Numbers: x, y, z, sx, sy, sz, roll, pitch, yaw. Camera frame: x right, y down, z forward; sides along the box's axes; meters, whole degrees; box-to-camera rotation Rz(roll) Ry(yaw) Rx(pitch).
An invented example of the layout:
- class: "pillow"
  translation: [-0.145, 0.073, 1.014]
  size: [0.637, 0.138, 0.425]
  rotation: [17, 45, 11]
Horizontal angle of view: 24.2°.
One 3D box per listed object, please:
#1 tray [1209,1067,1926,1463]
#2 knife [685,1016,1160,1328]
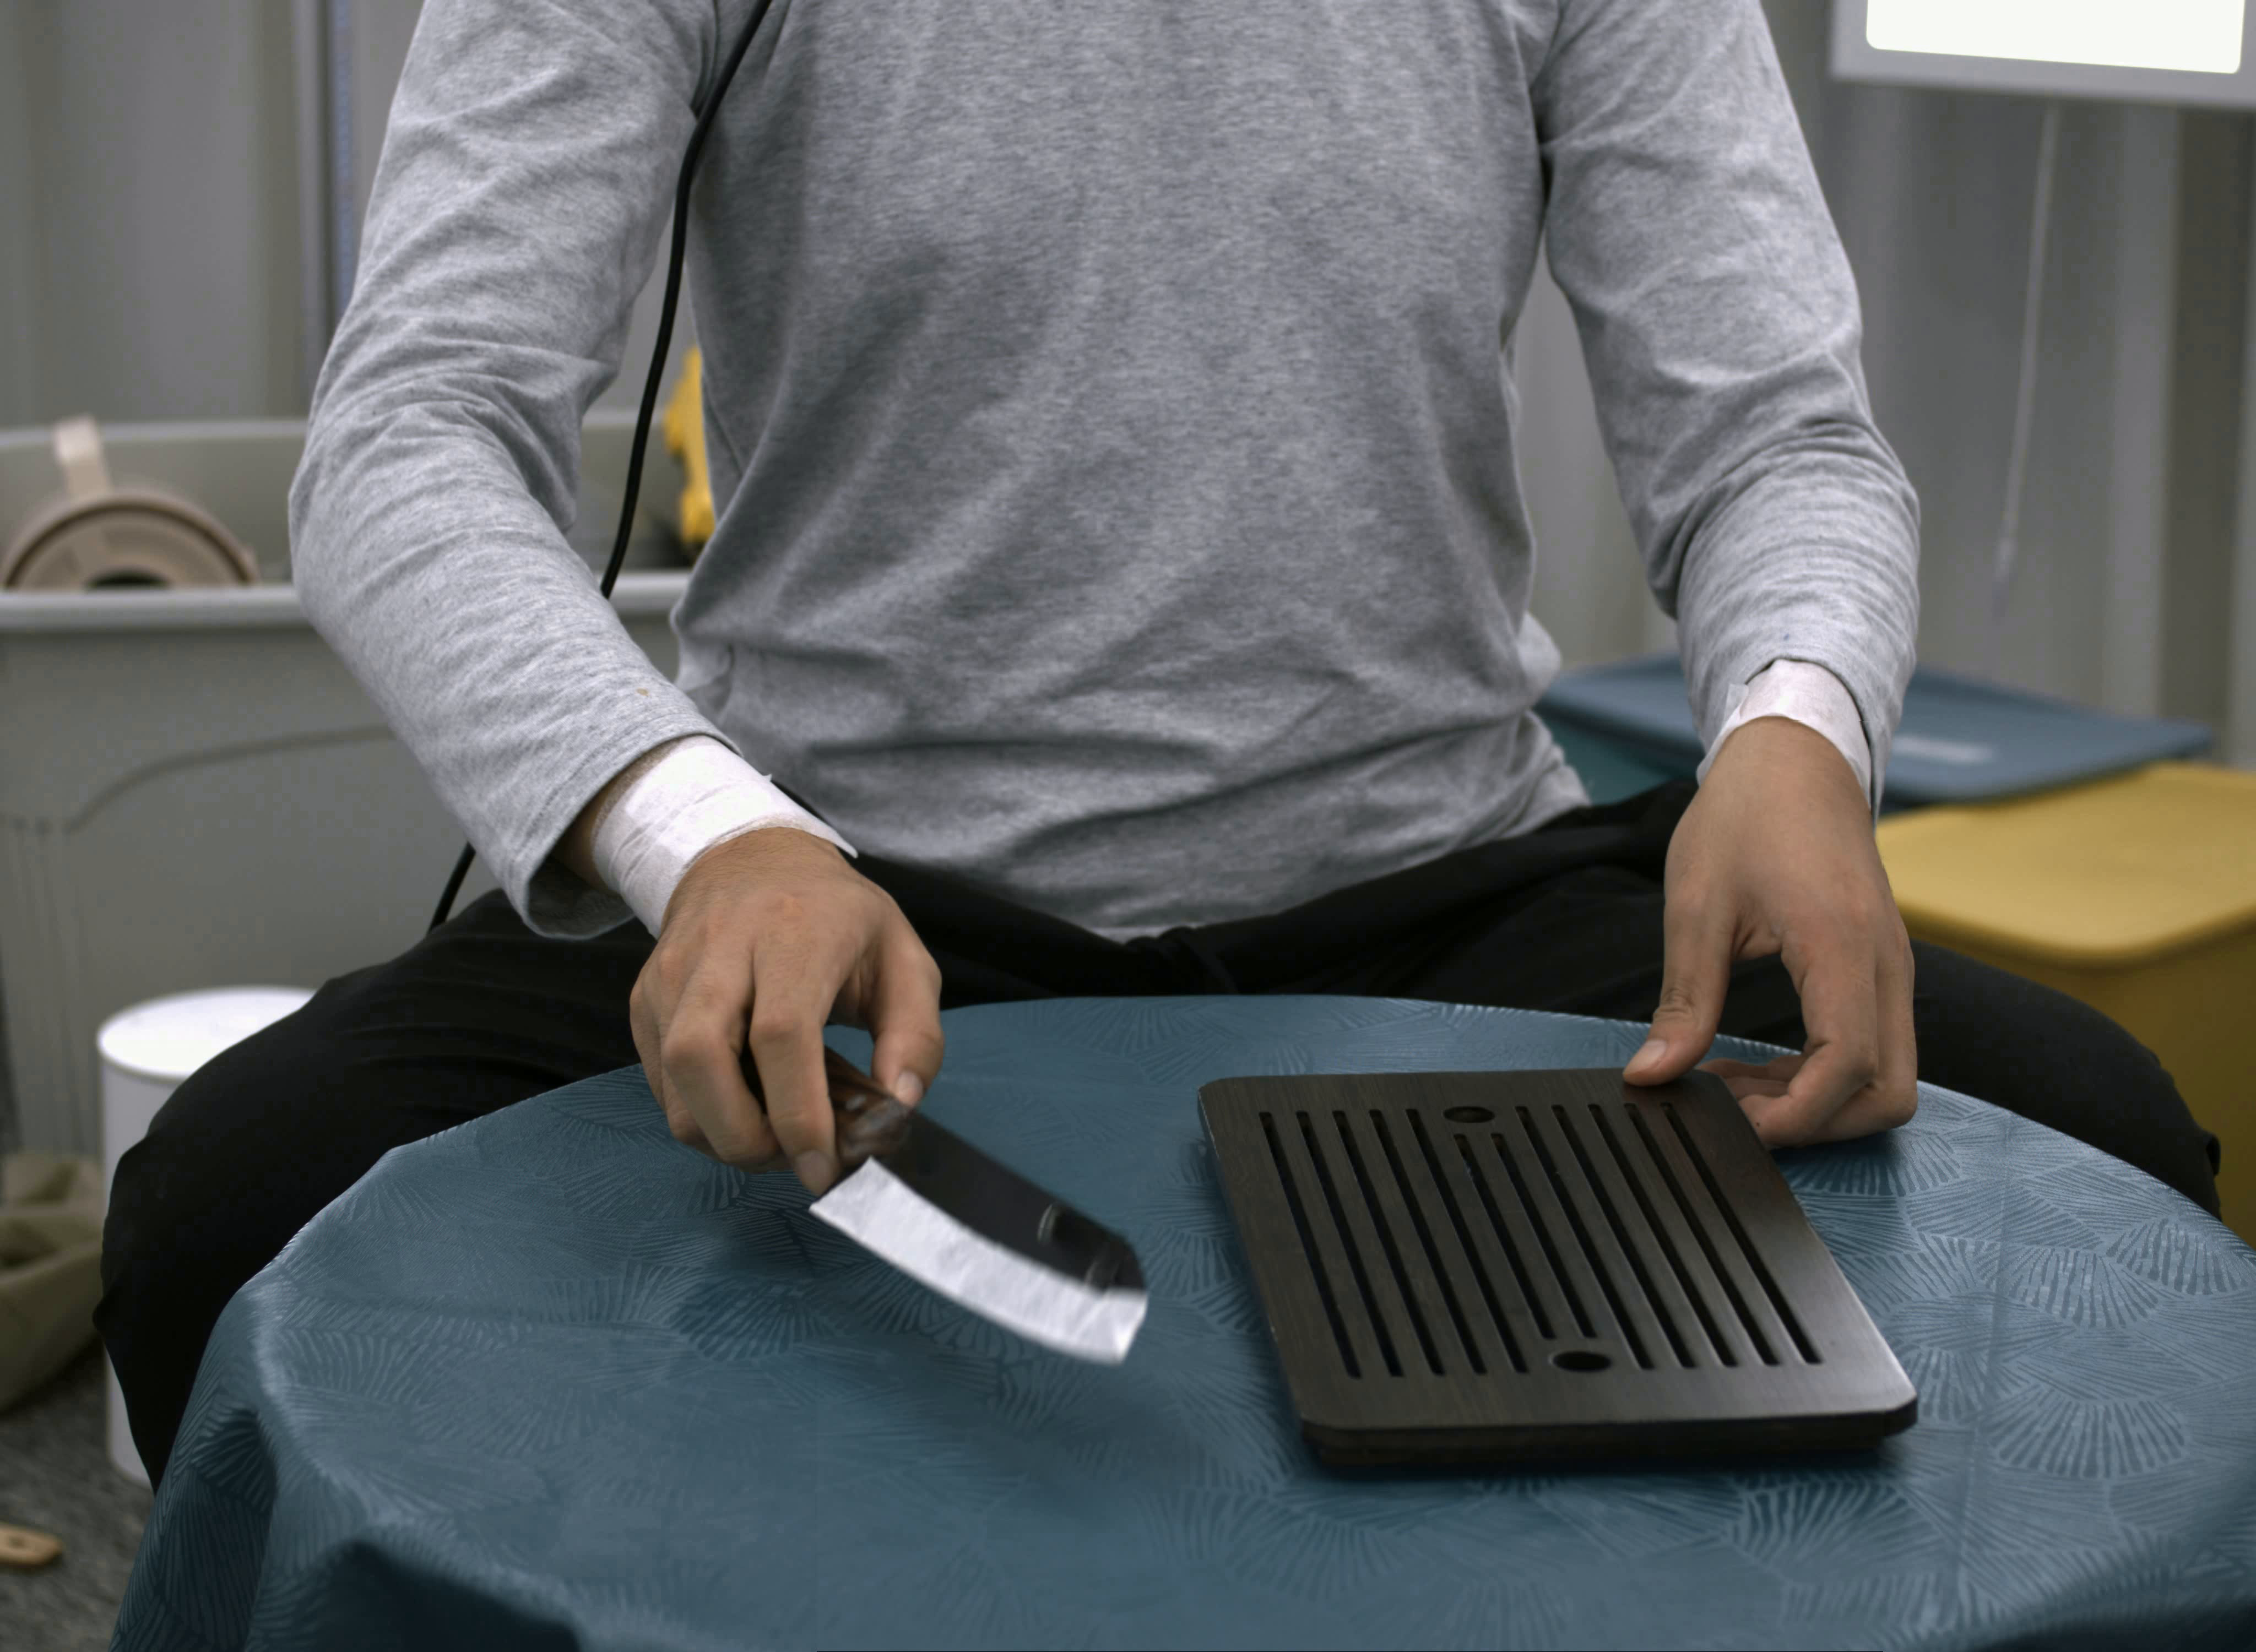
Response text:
- class: "tray"
  translation: [0.120, 0.126, 1.548]
  size: [0.170, 0.019, 0.304]
  rotation: [-1, 15, -4]
- class: "knife"
  translation: [-0.061, 0.097, 1.498]
  size: [0.050, 0.020, 0.285]
  rotation: [-40, 28, -14]
